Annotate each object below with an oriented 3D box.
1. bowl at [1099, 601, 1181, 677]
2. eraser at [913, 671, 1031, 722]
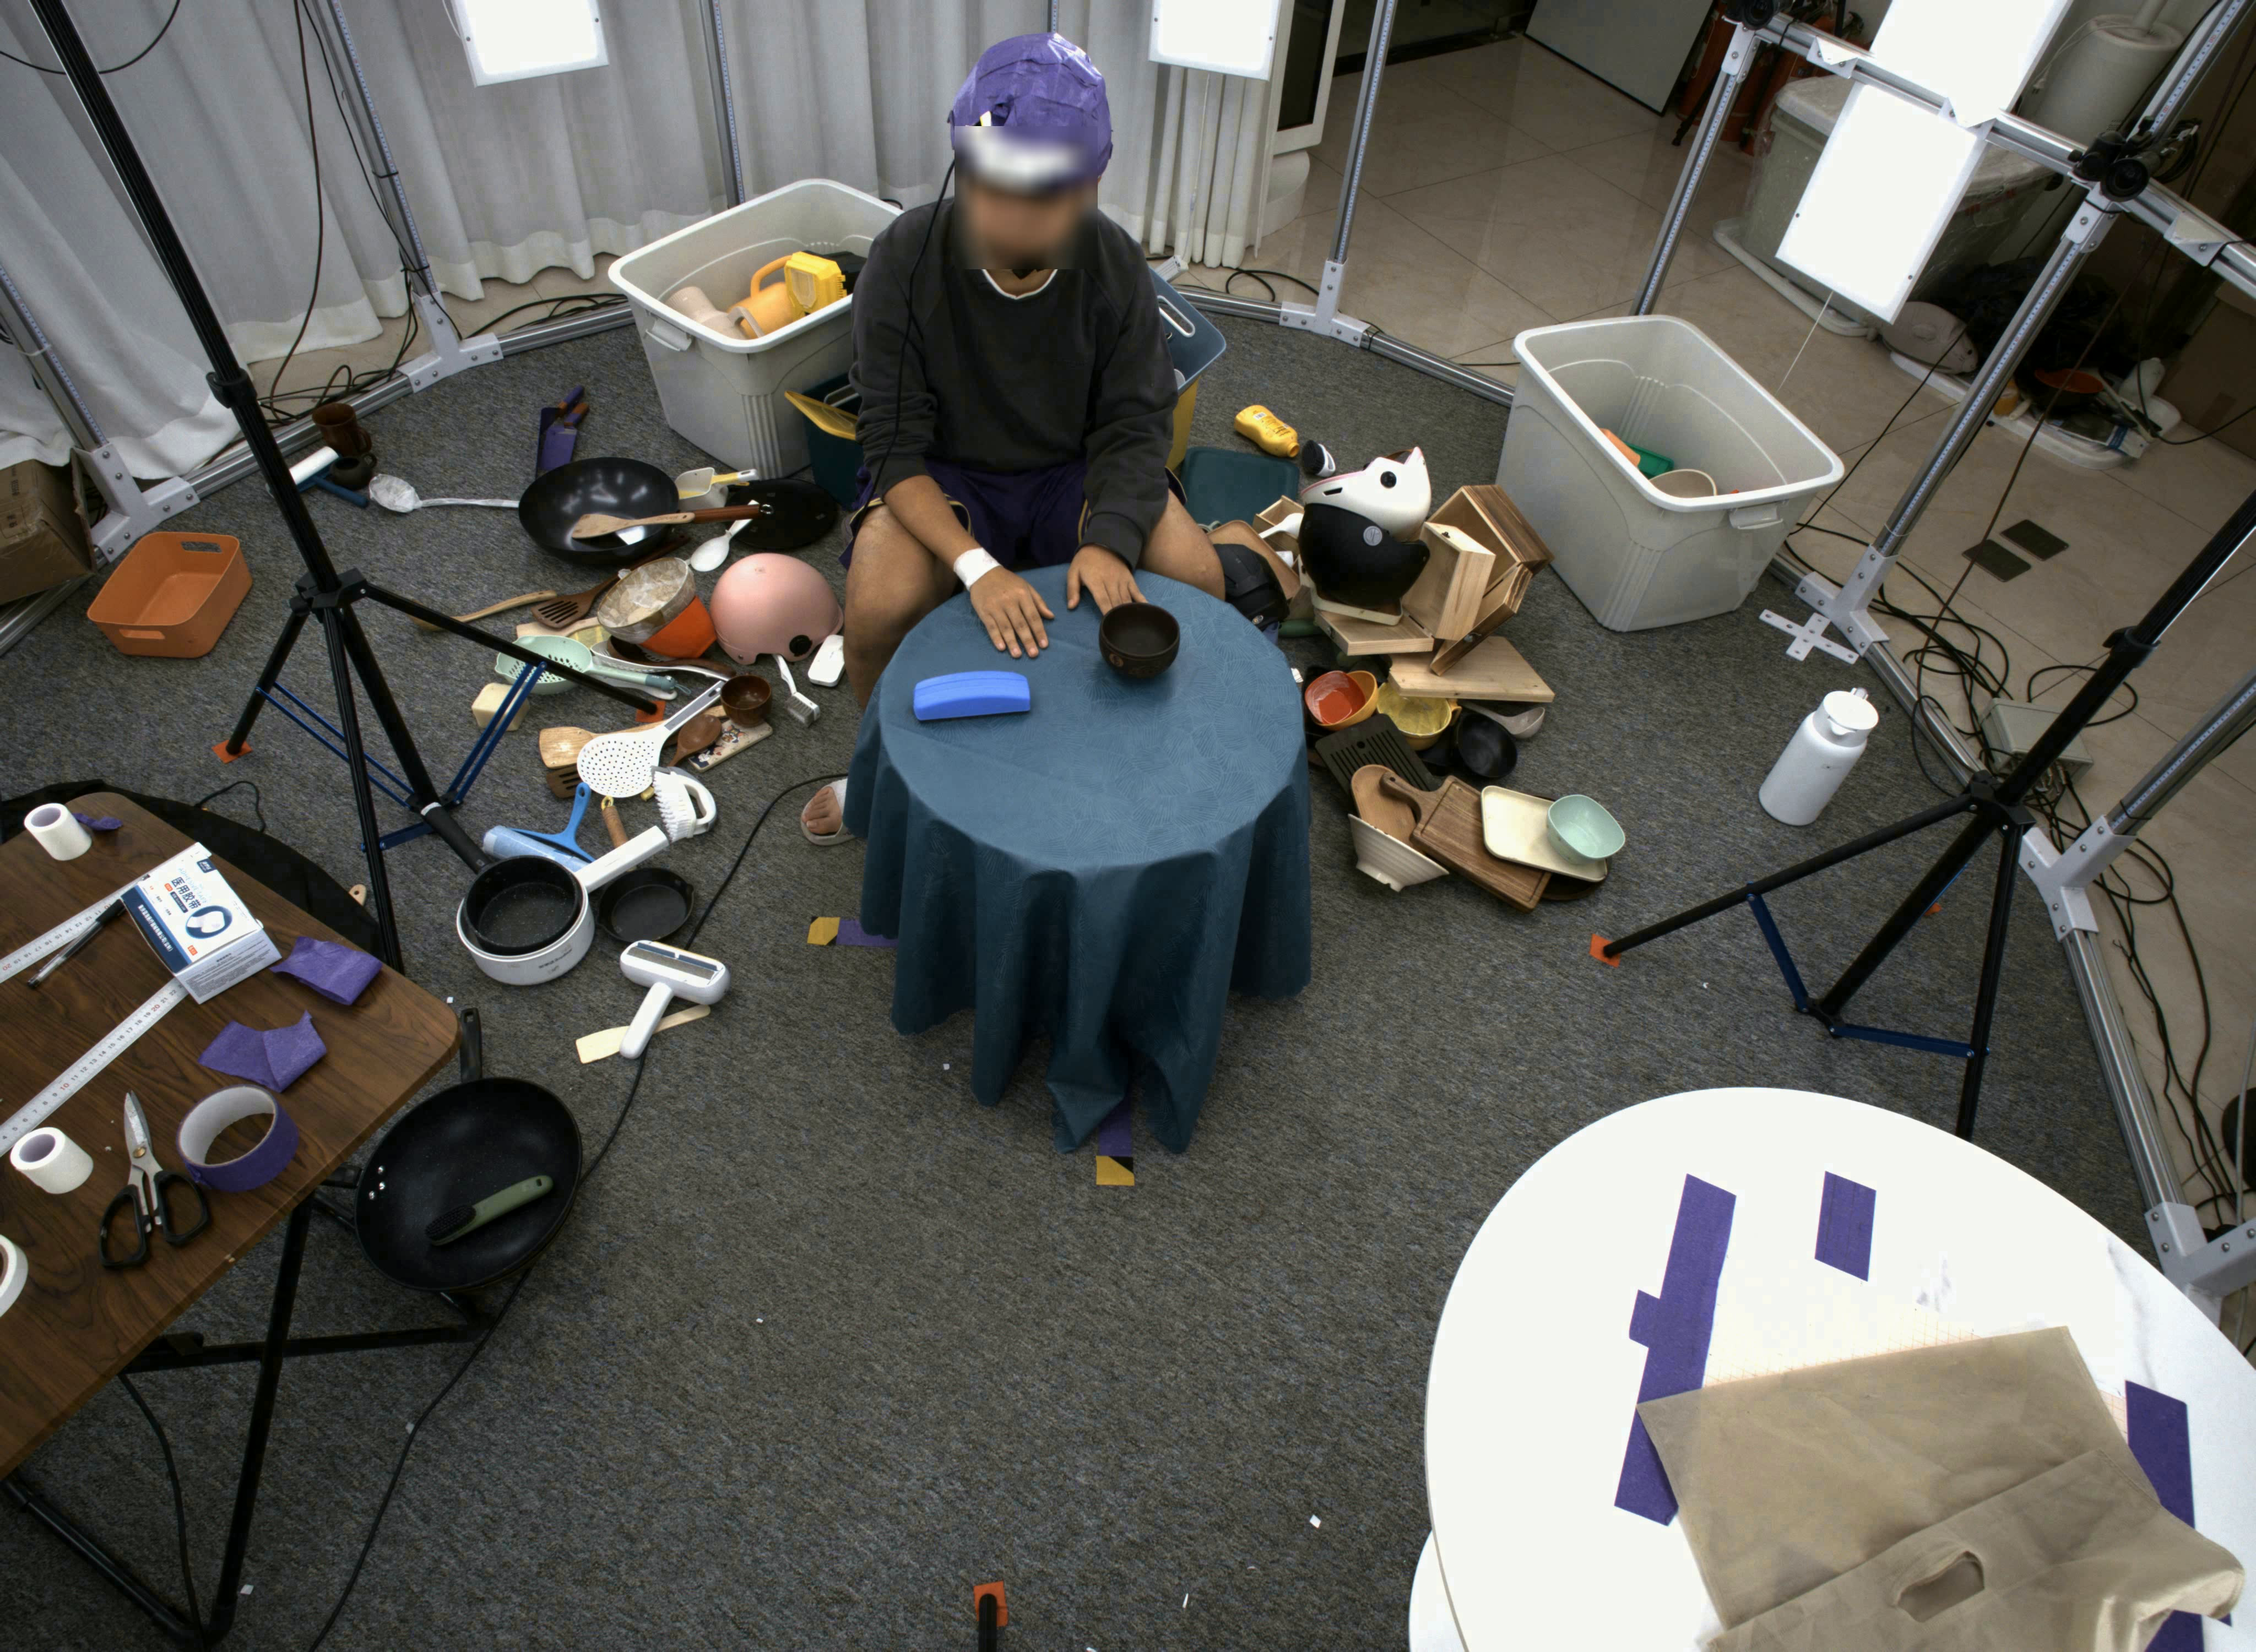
[{"bbox_3d":[0.016,-0.260,1.846,0.118,0.068,0.121,1,49,-1],"label":"bowl"},{"bbox_3d":[-0.216,-0.182,1.780,0.162,0.046,0.055,-6,51,-10],"label":"eraser"}]
